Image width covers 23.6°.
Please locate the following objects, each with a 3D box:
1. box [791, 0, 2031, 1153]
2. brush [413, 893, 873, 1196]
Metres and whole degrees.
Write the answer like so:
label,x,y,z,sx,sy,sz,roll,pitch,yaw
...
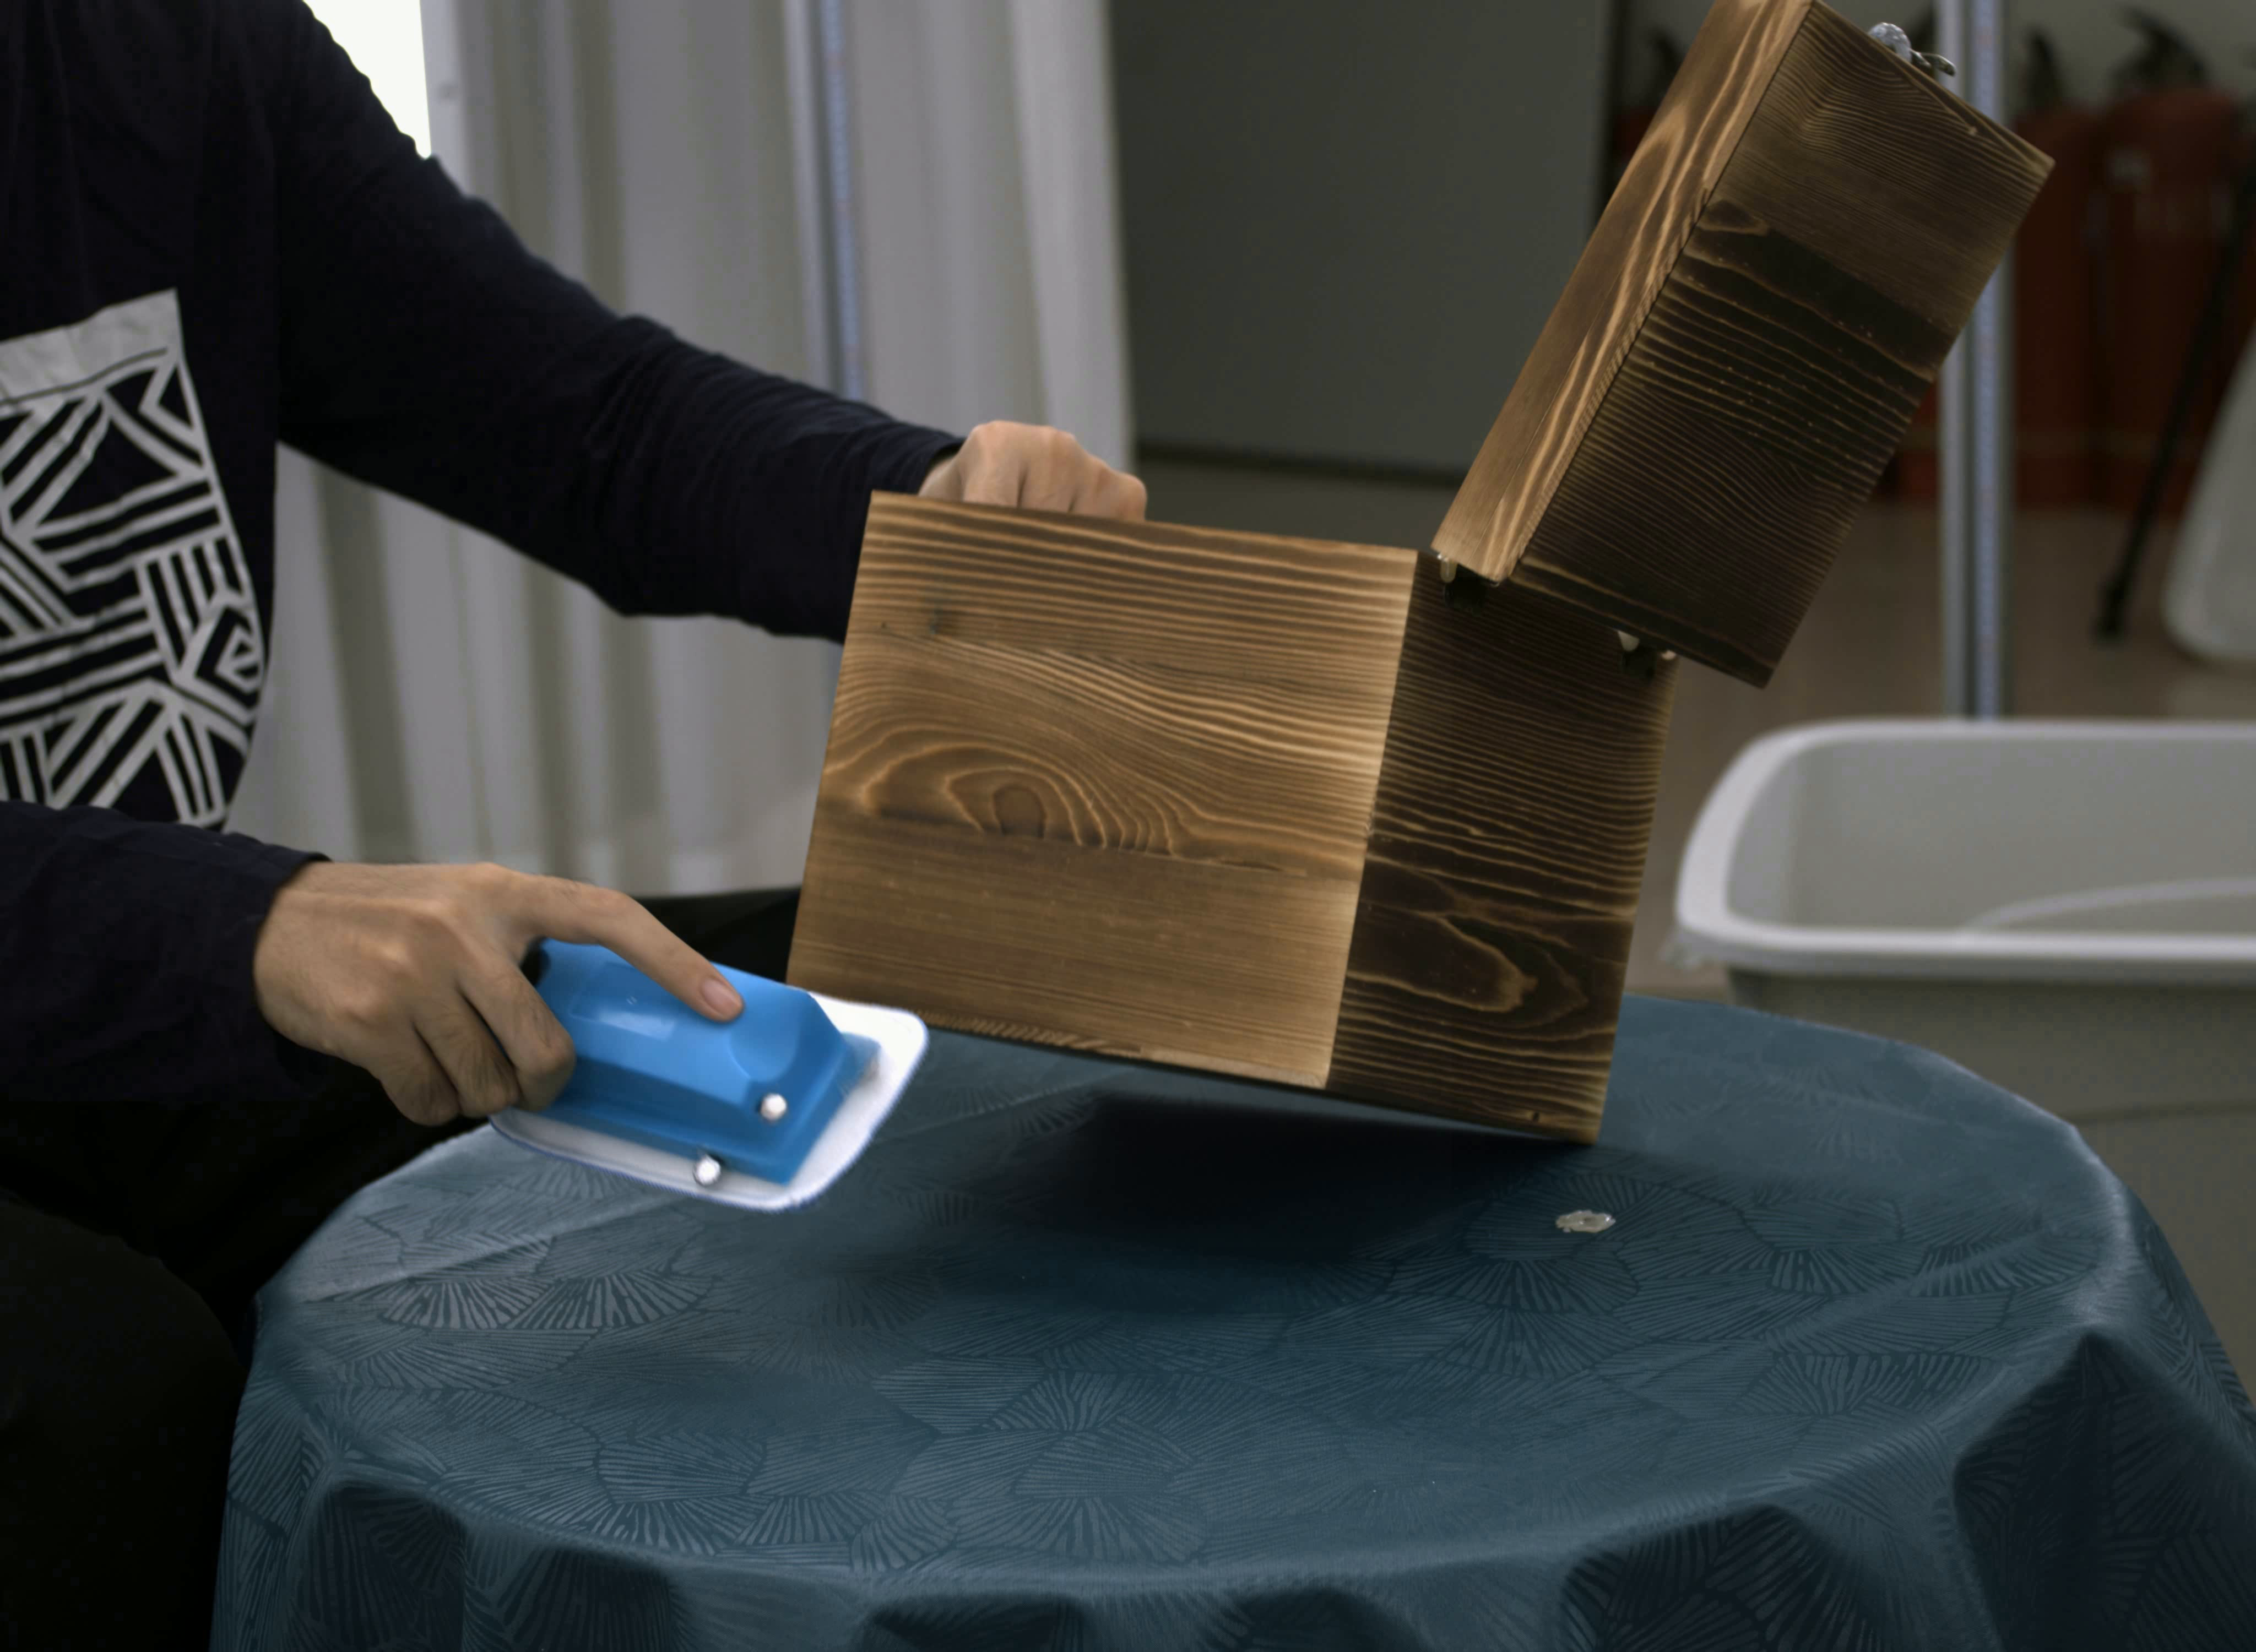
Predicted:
label,x,y,z,sx,sy,sz,roll,pitch,yaw
box,0.097,-0.092,1.746,0.323,0.380,0.205,7,-5,31
brush,-0.151,0.062,1.636,0.145,0.056,0.083,13,55,35
